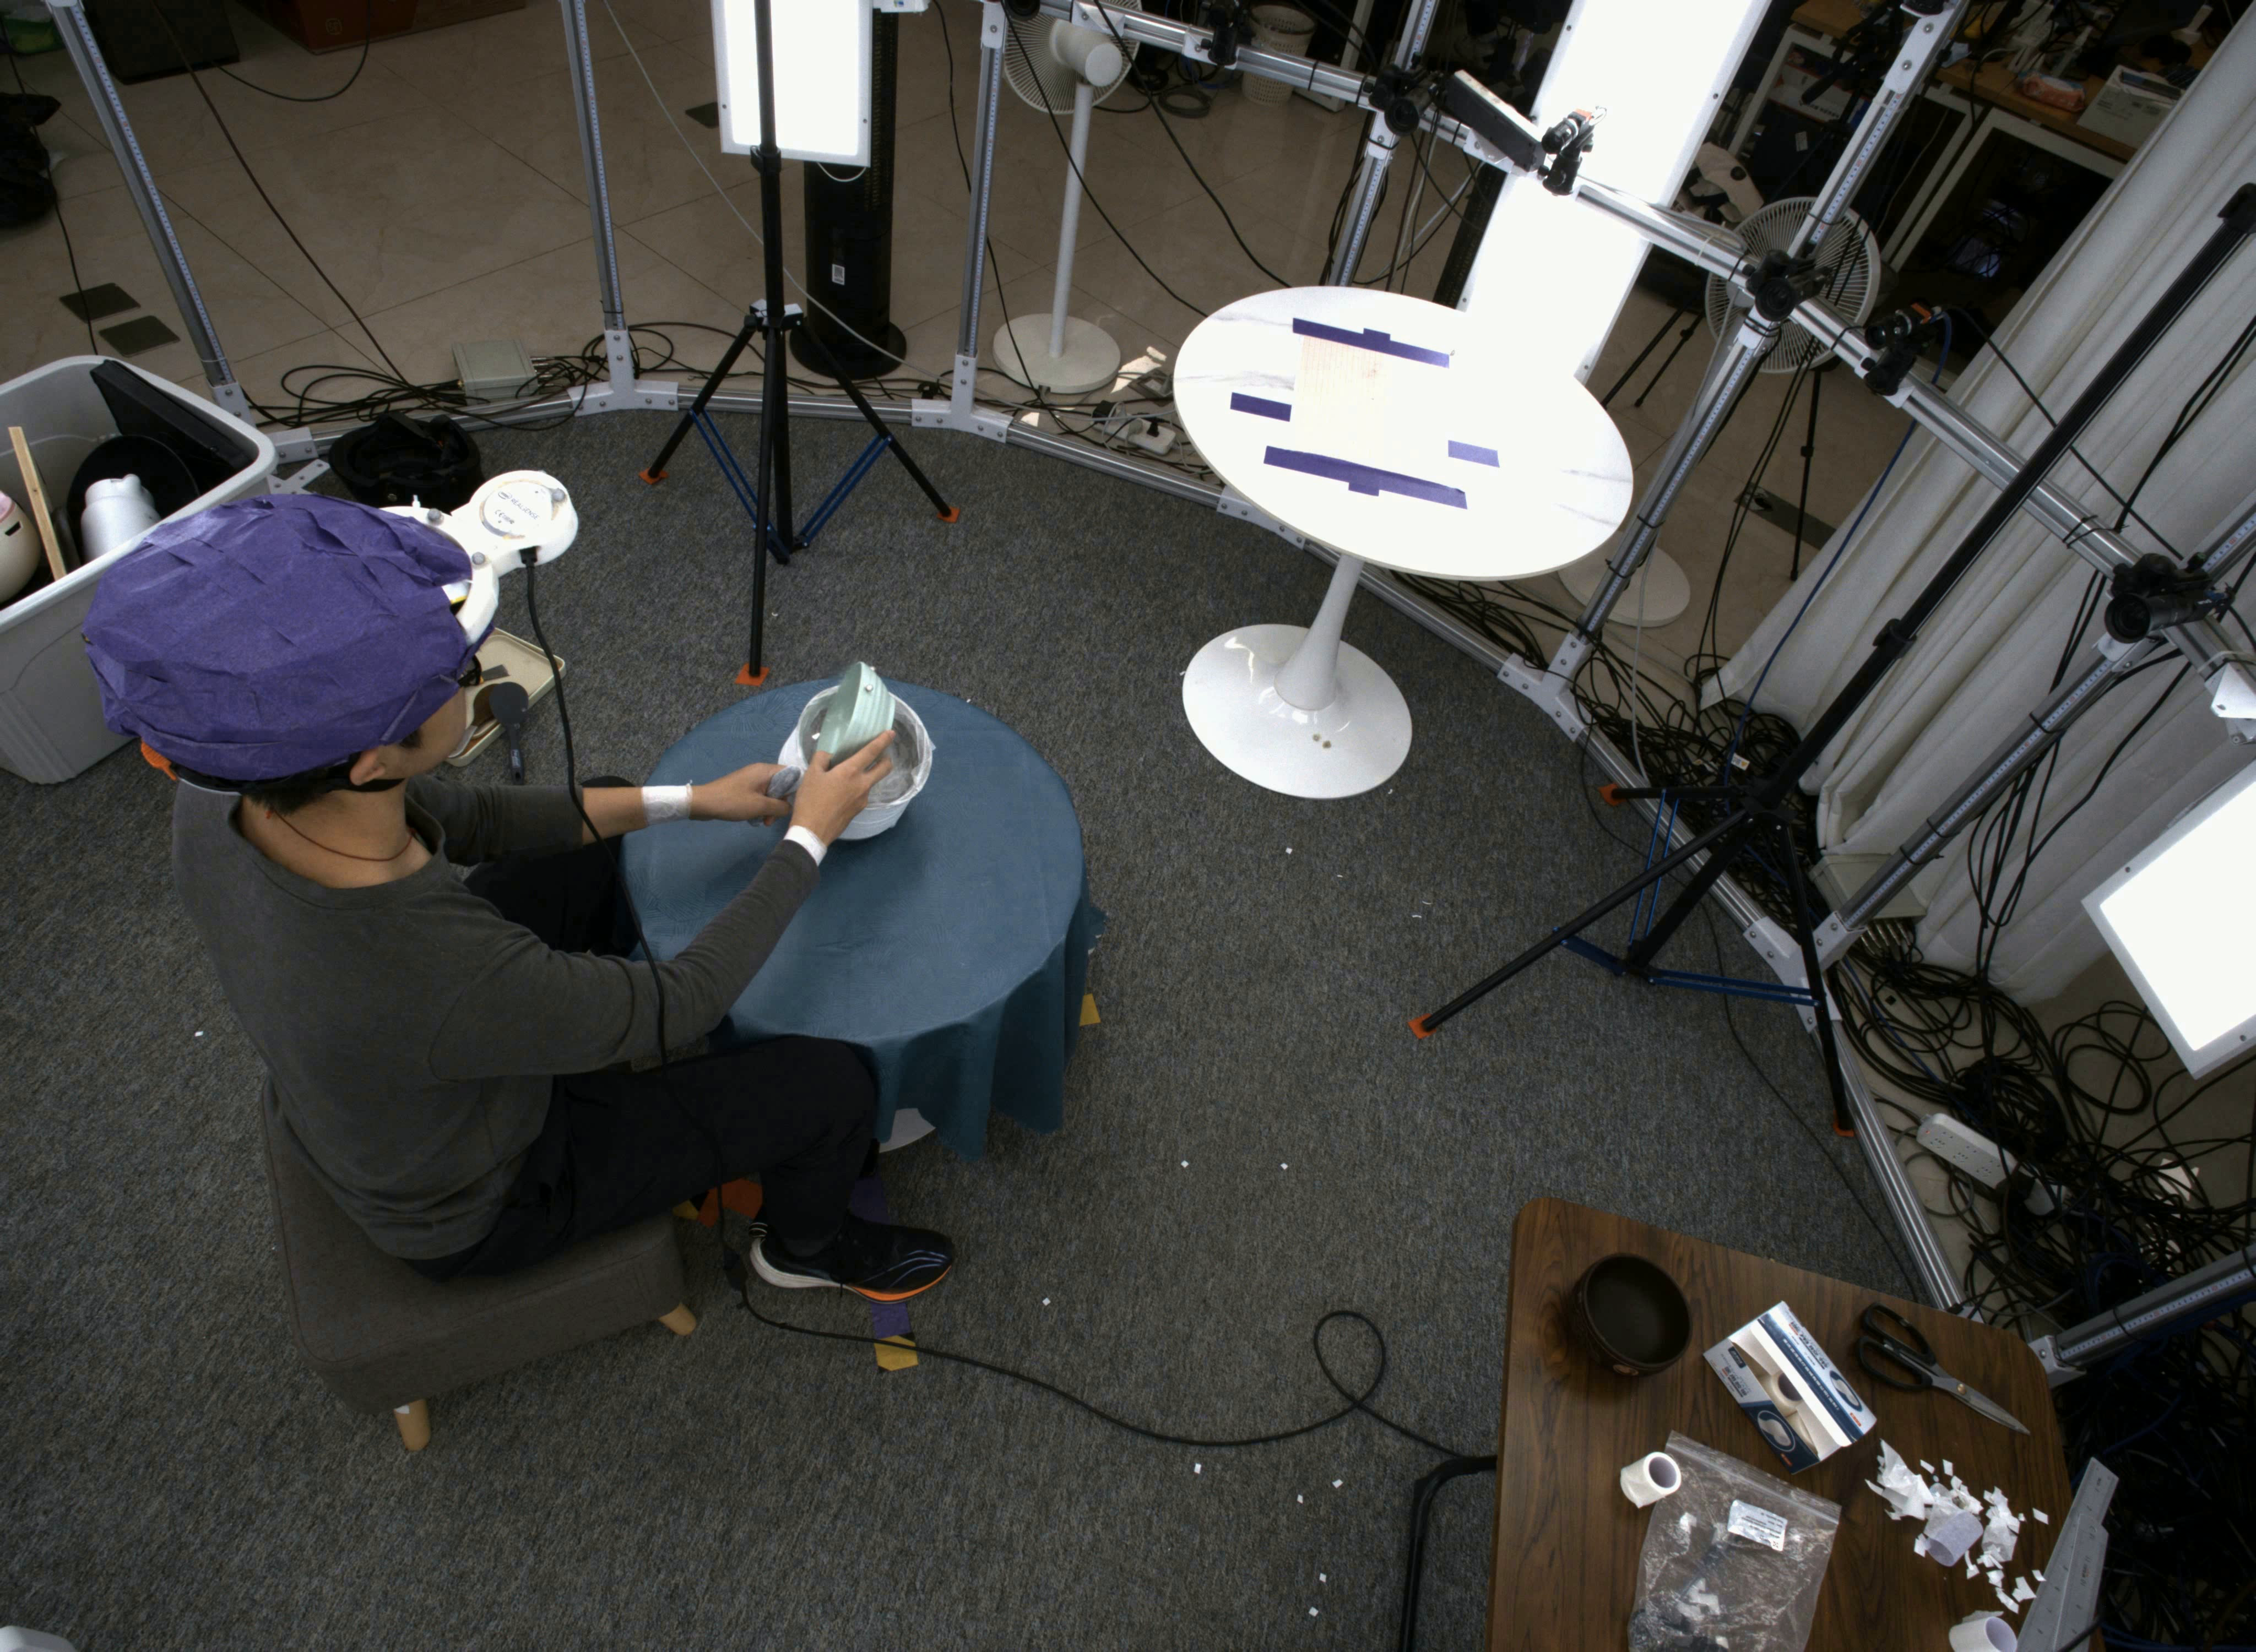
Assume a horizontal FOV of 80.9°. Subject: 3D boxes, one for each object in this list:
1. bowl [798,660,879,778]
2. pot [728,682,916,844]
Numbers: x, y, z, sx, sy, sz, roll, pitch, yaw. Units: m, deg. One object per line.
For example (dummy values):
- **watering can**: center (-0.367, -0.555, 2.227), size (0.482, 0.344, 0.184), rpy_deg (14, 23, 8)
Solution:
- **bowl**: center (-0.354, -0.123, 1.608), size (0.060, 0.151, 0.148), rpy_deg (21, 47, -24)
- **pot**: center (-0.401, -0.066, 1.675), size (0.235, 0.136, 0.179), rpy_deg (-29, 84, -36)
